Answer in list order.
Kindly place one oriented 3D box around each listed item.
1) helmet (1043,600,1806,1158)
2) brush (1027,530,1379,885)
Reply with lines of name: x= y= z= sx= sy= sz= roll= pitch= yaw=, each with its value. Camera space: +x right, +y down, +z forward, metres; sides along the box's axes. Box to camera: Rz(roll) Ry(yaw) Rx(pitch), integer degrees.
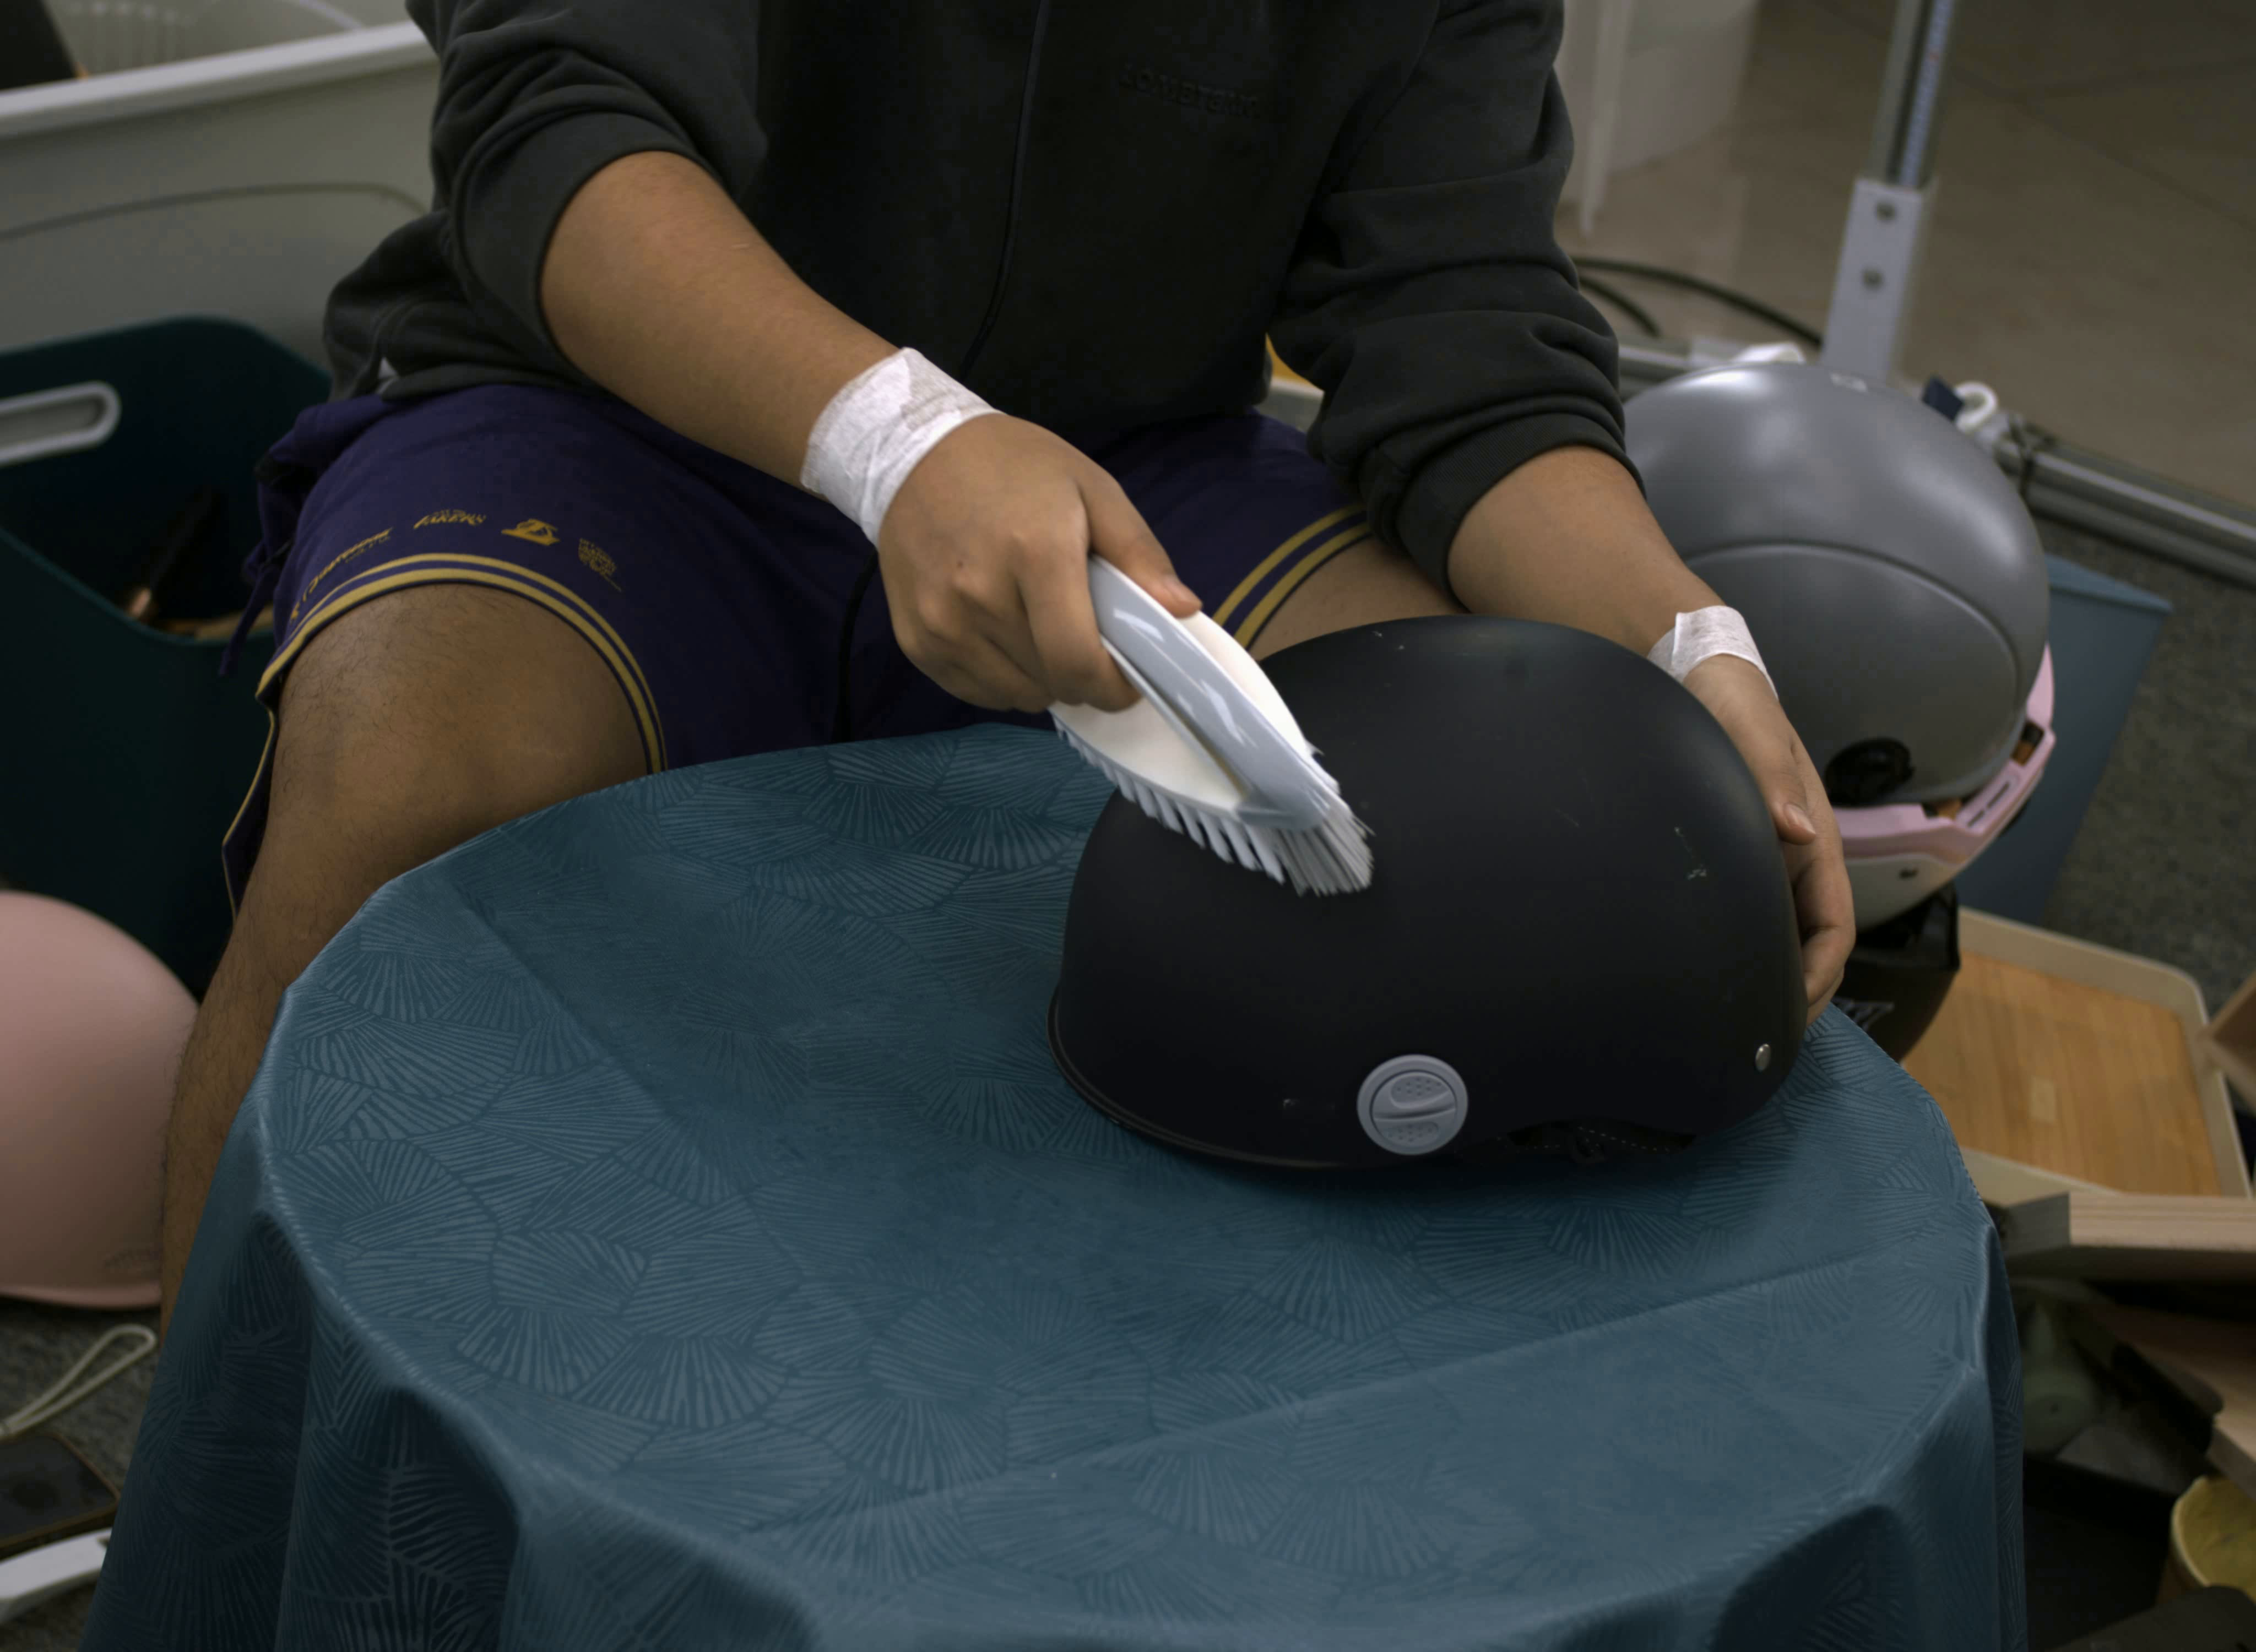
helmet: x=0.109 y=0.009 z=1.876 sx=0.272 sy=0.166 sz=0.232 roll=-2 pitch=27 yaw=-12
brush: x=0.021 y=-0.045 z=1.785 sx=0.061 sy=0.093 sz=0.177 roll=-42 pitch=41 yaw=-4
